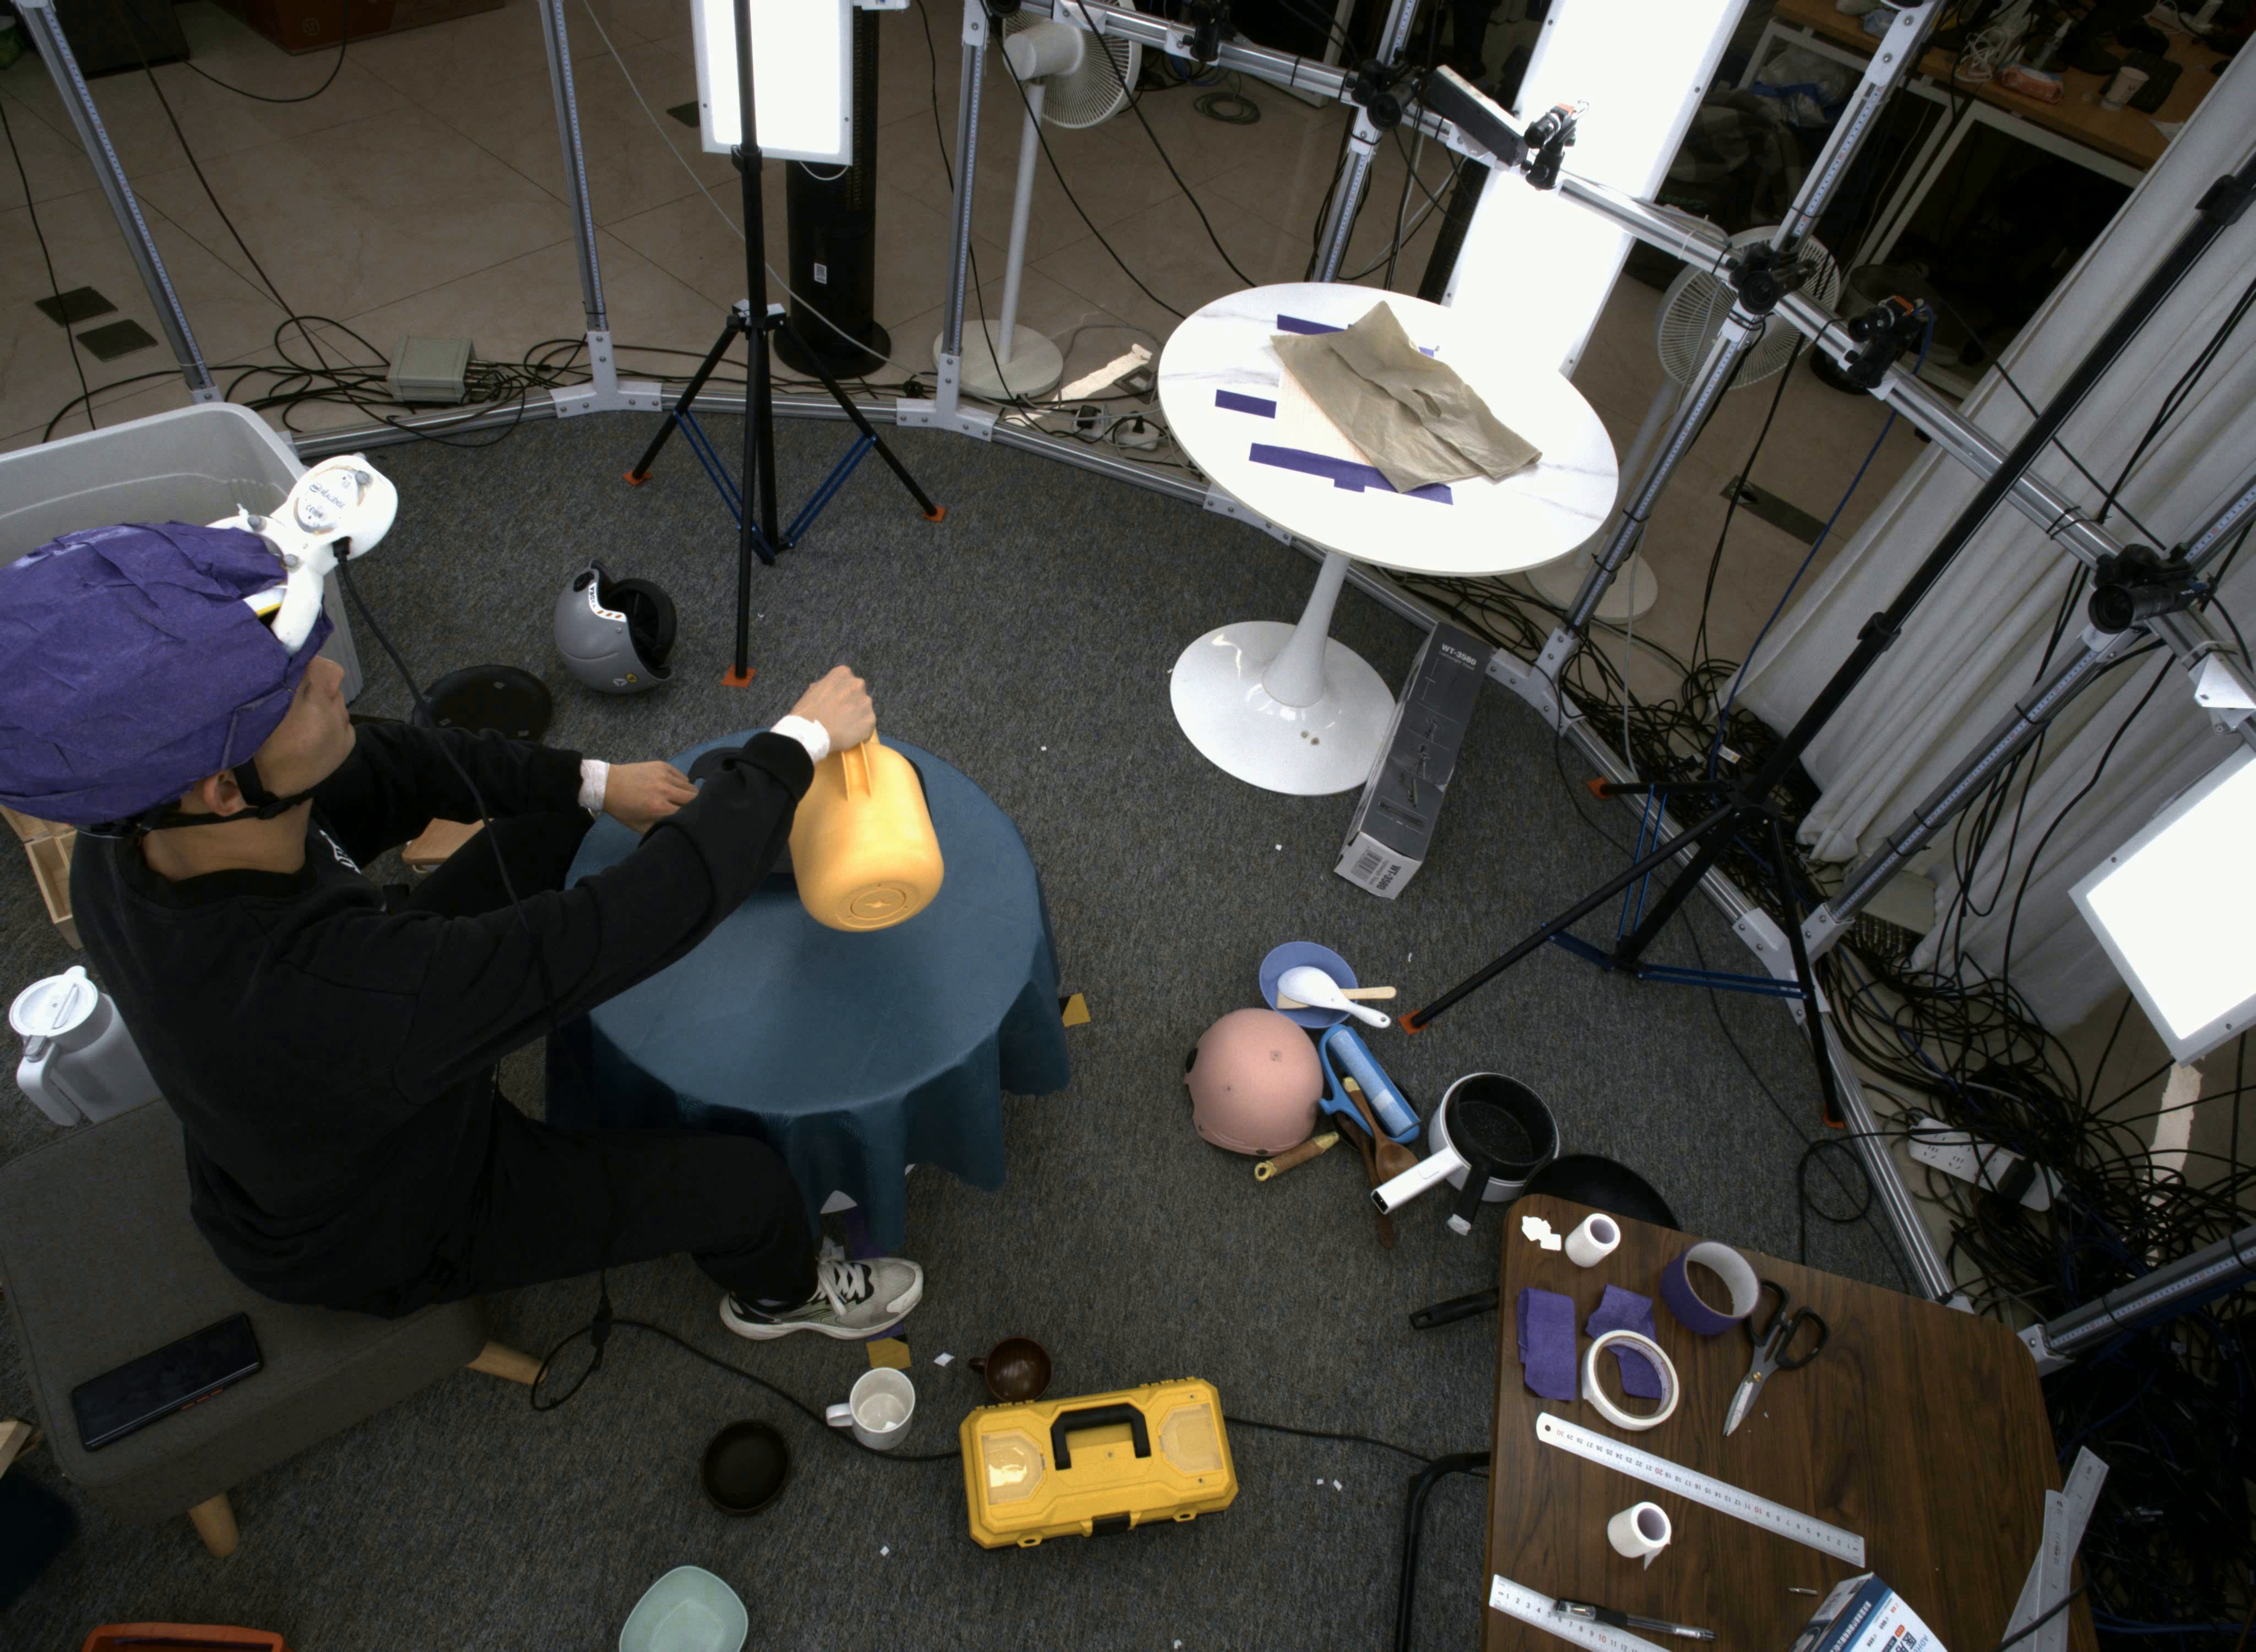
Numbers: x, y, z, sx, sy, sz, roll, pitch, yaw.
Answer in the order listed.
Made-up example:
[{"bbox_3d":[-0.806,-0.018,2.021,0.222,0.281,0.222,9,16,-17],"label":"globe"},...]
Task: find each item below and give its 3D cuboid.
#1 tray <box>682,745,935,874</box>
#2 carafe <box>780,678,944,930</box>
[{"bbox_3d":[-0.417,-0.024,1.702,0.329,0.010,0.206,2,52,-26],"label":"tray"},{"bbox_3d":[-0.315,-0.034,1.470,0.163,0.207,0.254,-15,59,-16],"label":"carafe"}]
